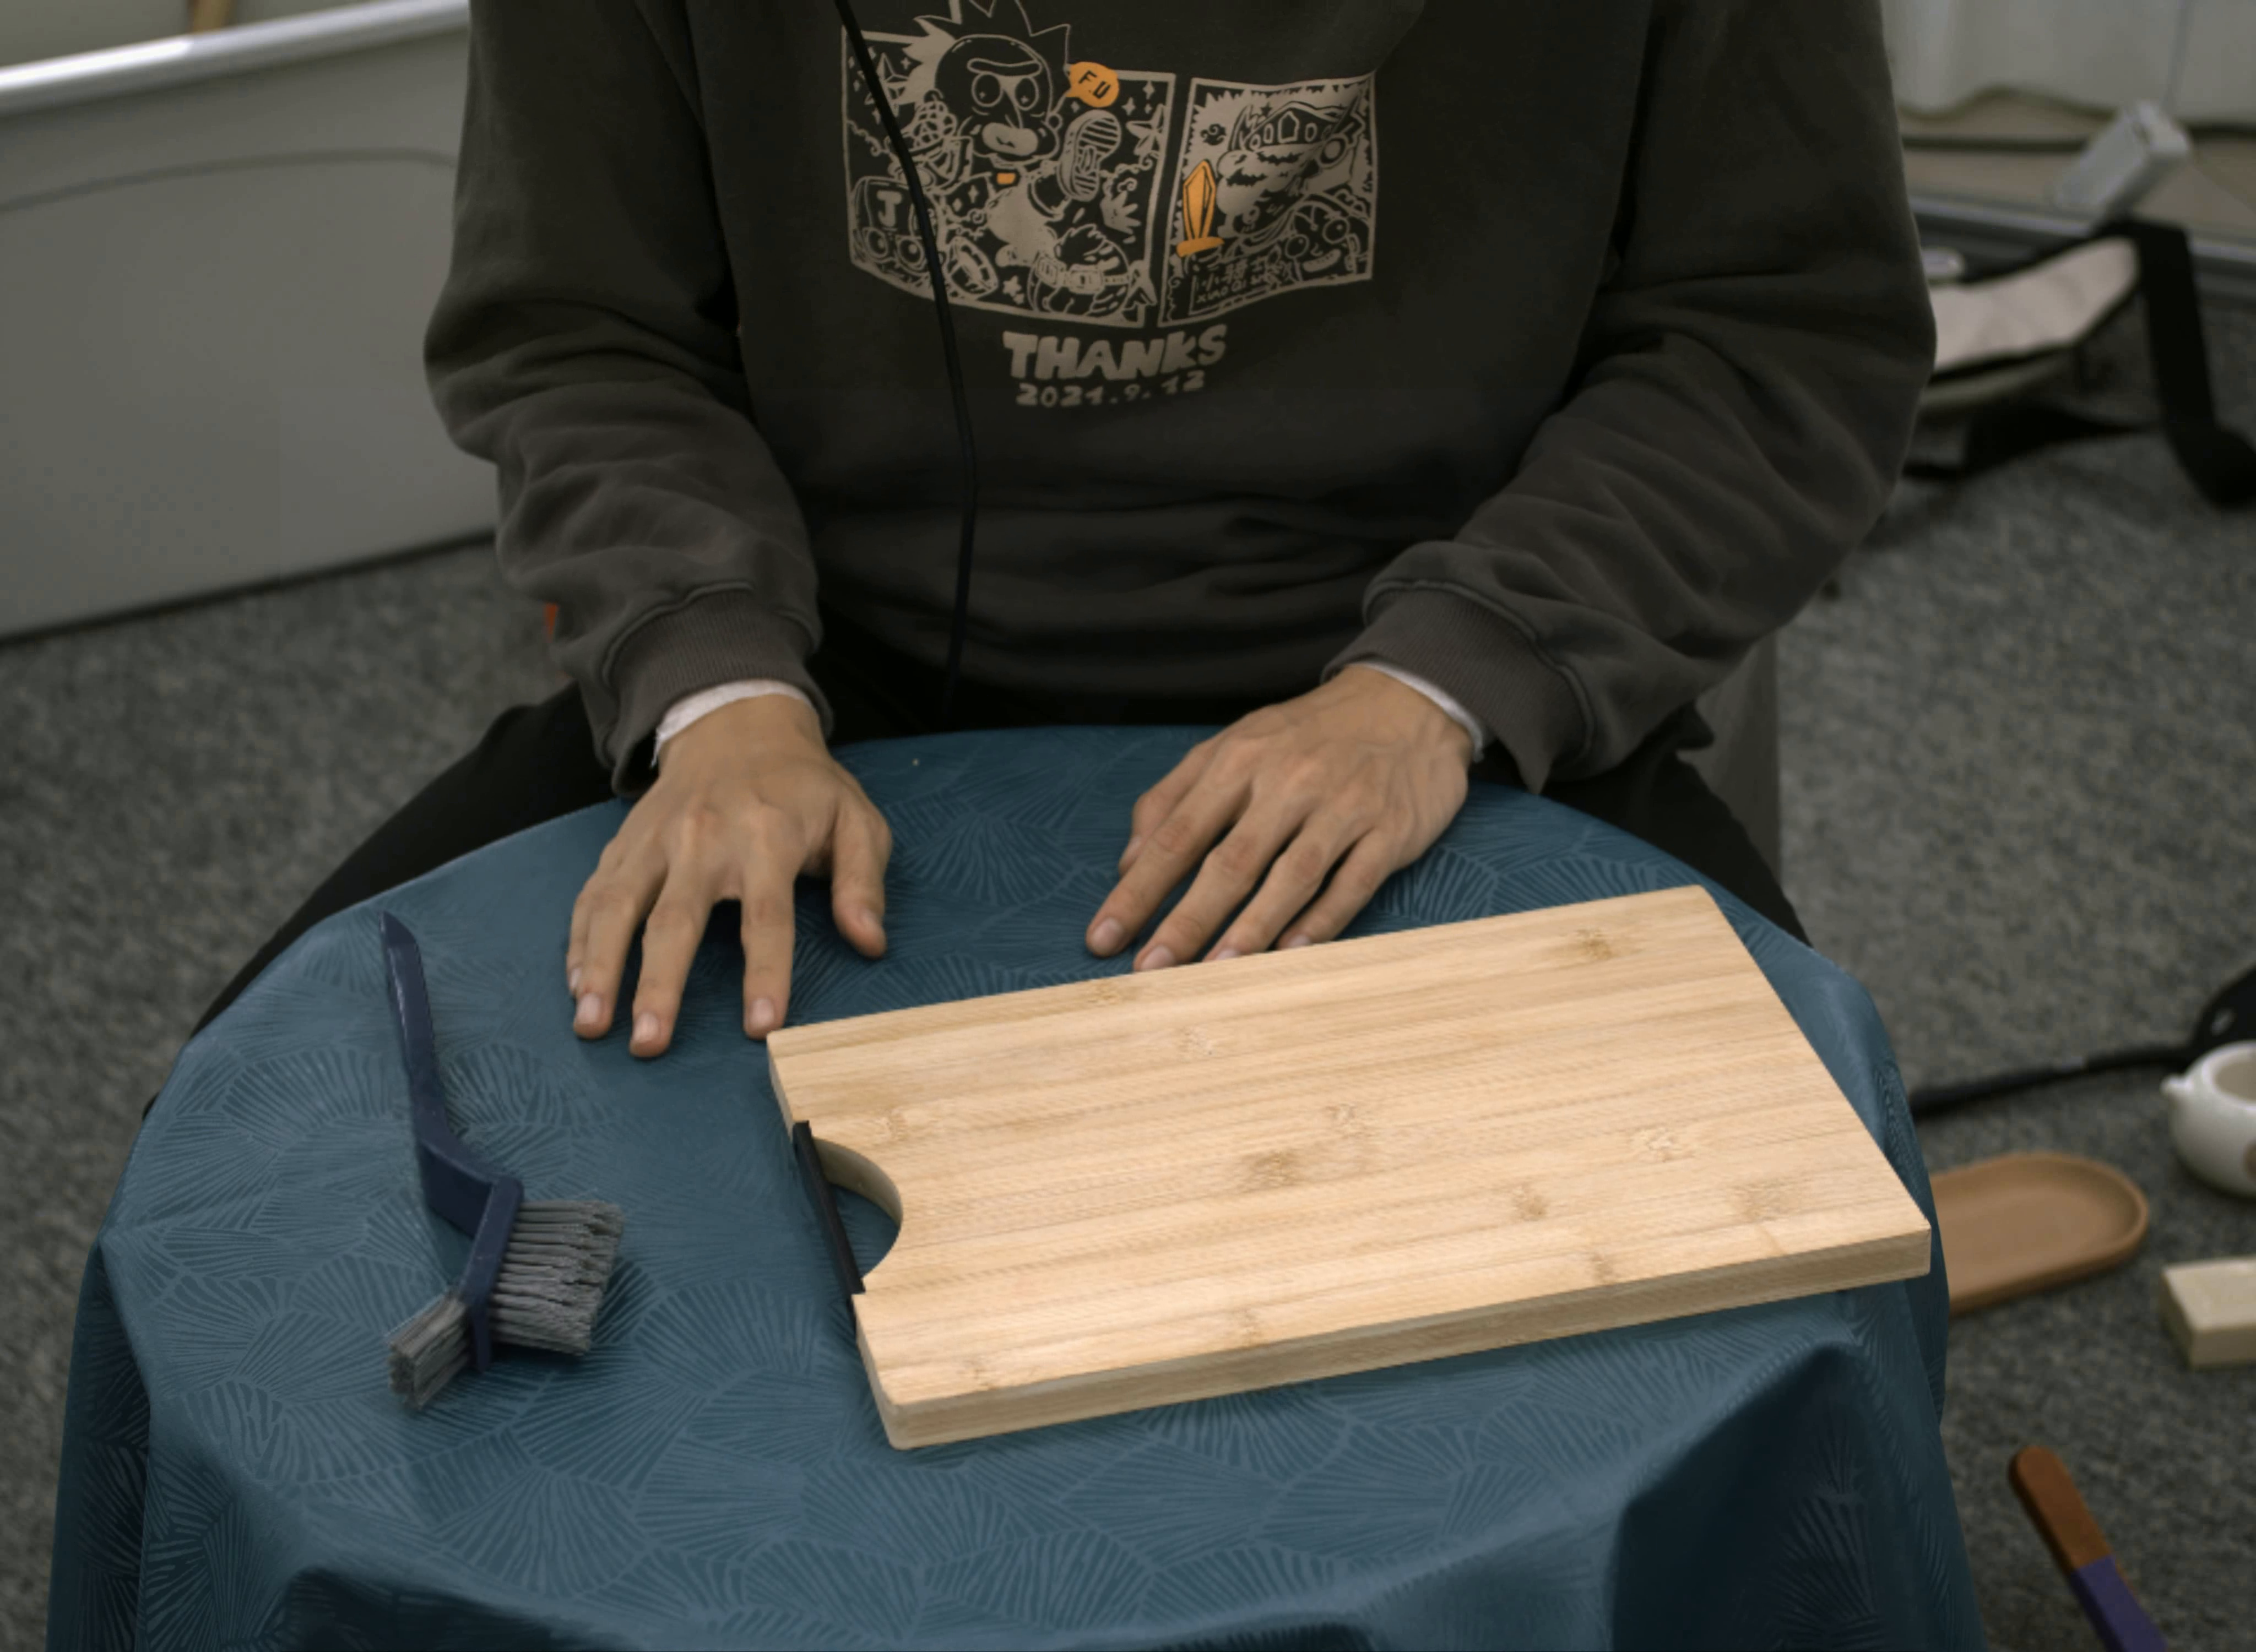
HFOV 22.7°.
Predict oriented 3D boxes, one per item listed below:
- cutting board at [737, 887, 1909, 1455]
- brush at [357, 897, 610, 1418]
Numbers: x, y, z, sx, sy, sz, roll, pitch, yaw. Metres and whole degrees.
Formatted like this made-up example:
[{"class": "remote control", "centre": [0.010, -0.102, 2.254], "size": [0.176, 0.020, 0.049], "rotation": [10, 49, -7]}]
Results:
[{"class": "cutting board", "centre": [0.060, 0.109, 1.861], "size": [0.348, 0.023, 0.253], "rotation": [-9, 28, -11]}, {"class": "brush", "centre": [-0.238, 0.106, 1.881], "size": [0.096, 0.033, 0.276], "rotation": [-11, 30, -16]}]
